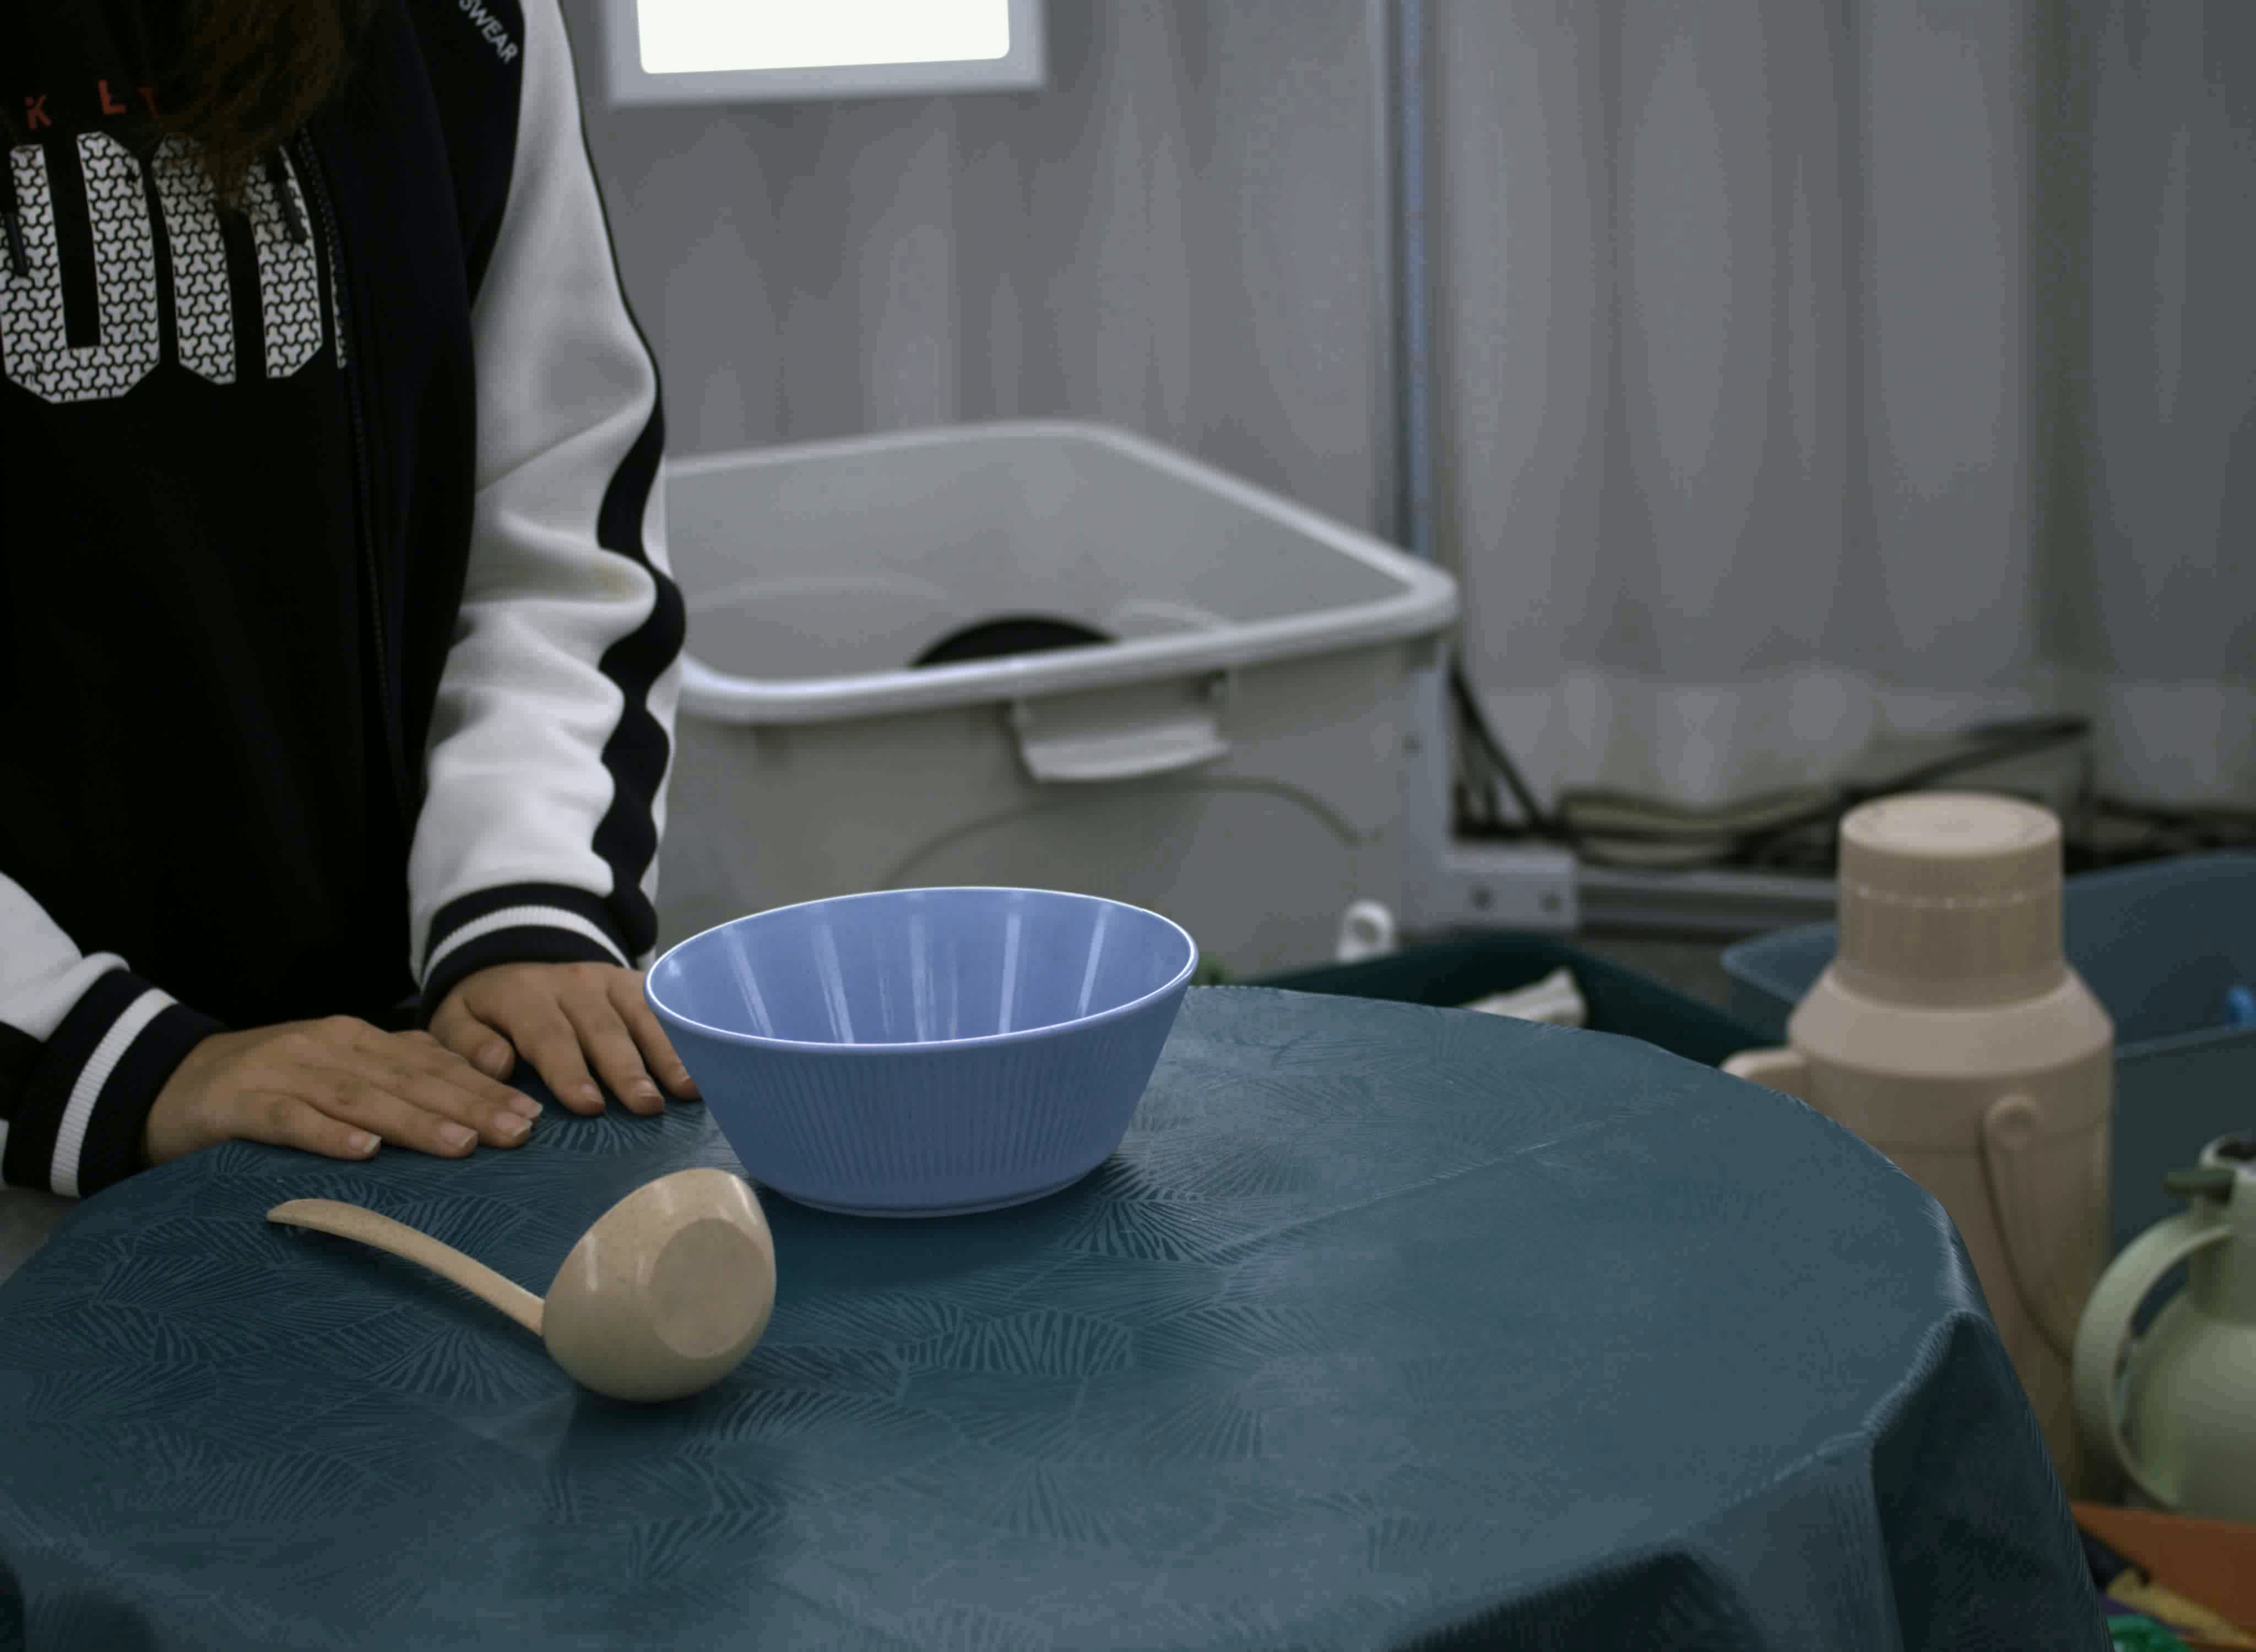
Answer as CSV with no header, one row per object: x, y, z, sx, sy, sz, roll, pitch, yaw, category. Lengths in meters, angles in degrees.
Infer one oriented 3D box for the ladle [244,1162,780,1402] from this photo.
-0.195,0.111,1.623,0.072,0.072,0.256,-14,18,-37,ladle

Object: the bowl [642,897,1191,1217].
-0.066,0.075,1.740,0.175,0.070,0.177,-2,14,0,bowl
